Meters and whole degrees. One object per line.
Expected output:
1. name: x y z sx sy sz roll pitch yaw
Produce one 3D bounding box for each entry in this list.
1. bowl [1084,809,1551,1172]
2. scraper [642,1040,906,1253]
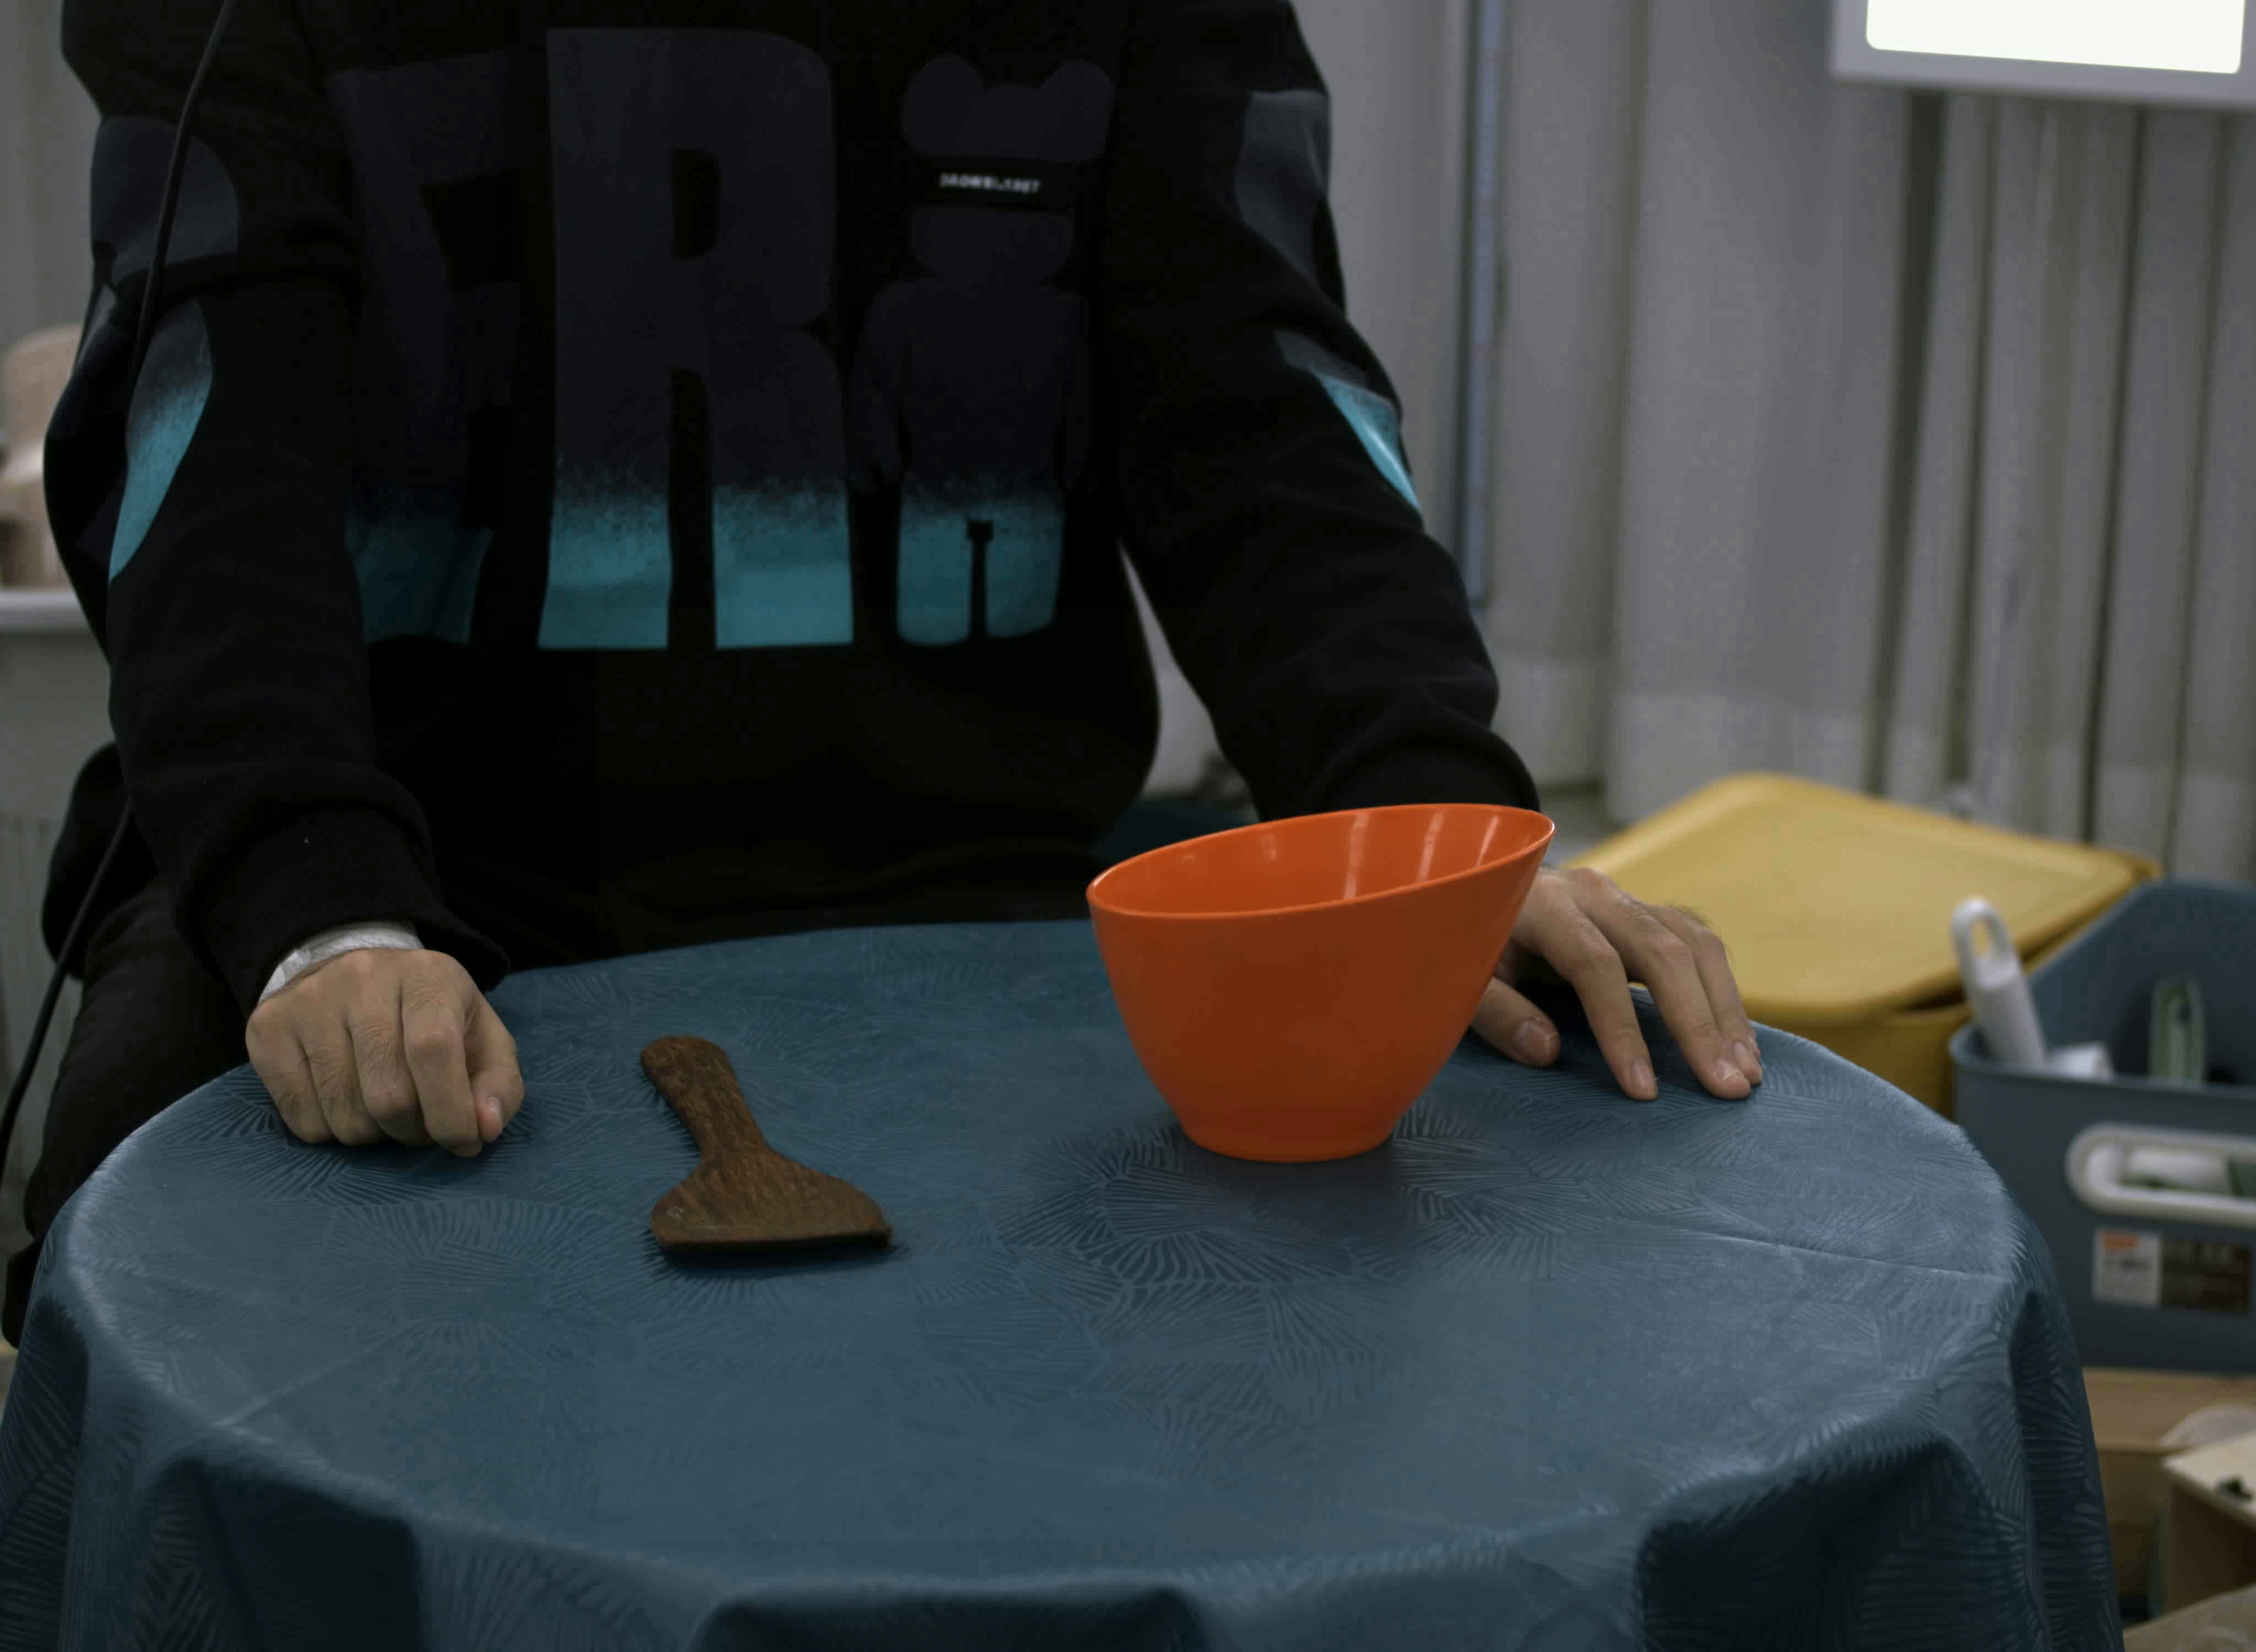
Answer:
1. bowl: 0.060 0.052 1.663 0.147 0.105 0.147 -1 15 1
2. scraper: -0.124 0.100 1.652 0.076 0.011 0.209 -2 15 -14
